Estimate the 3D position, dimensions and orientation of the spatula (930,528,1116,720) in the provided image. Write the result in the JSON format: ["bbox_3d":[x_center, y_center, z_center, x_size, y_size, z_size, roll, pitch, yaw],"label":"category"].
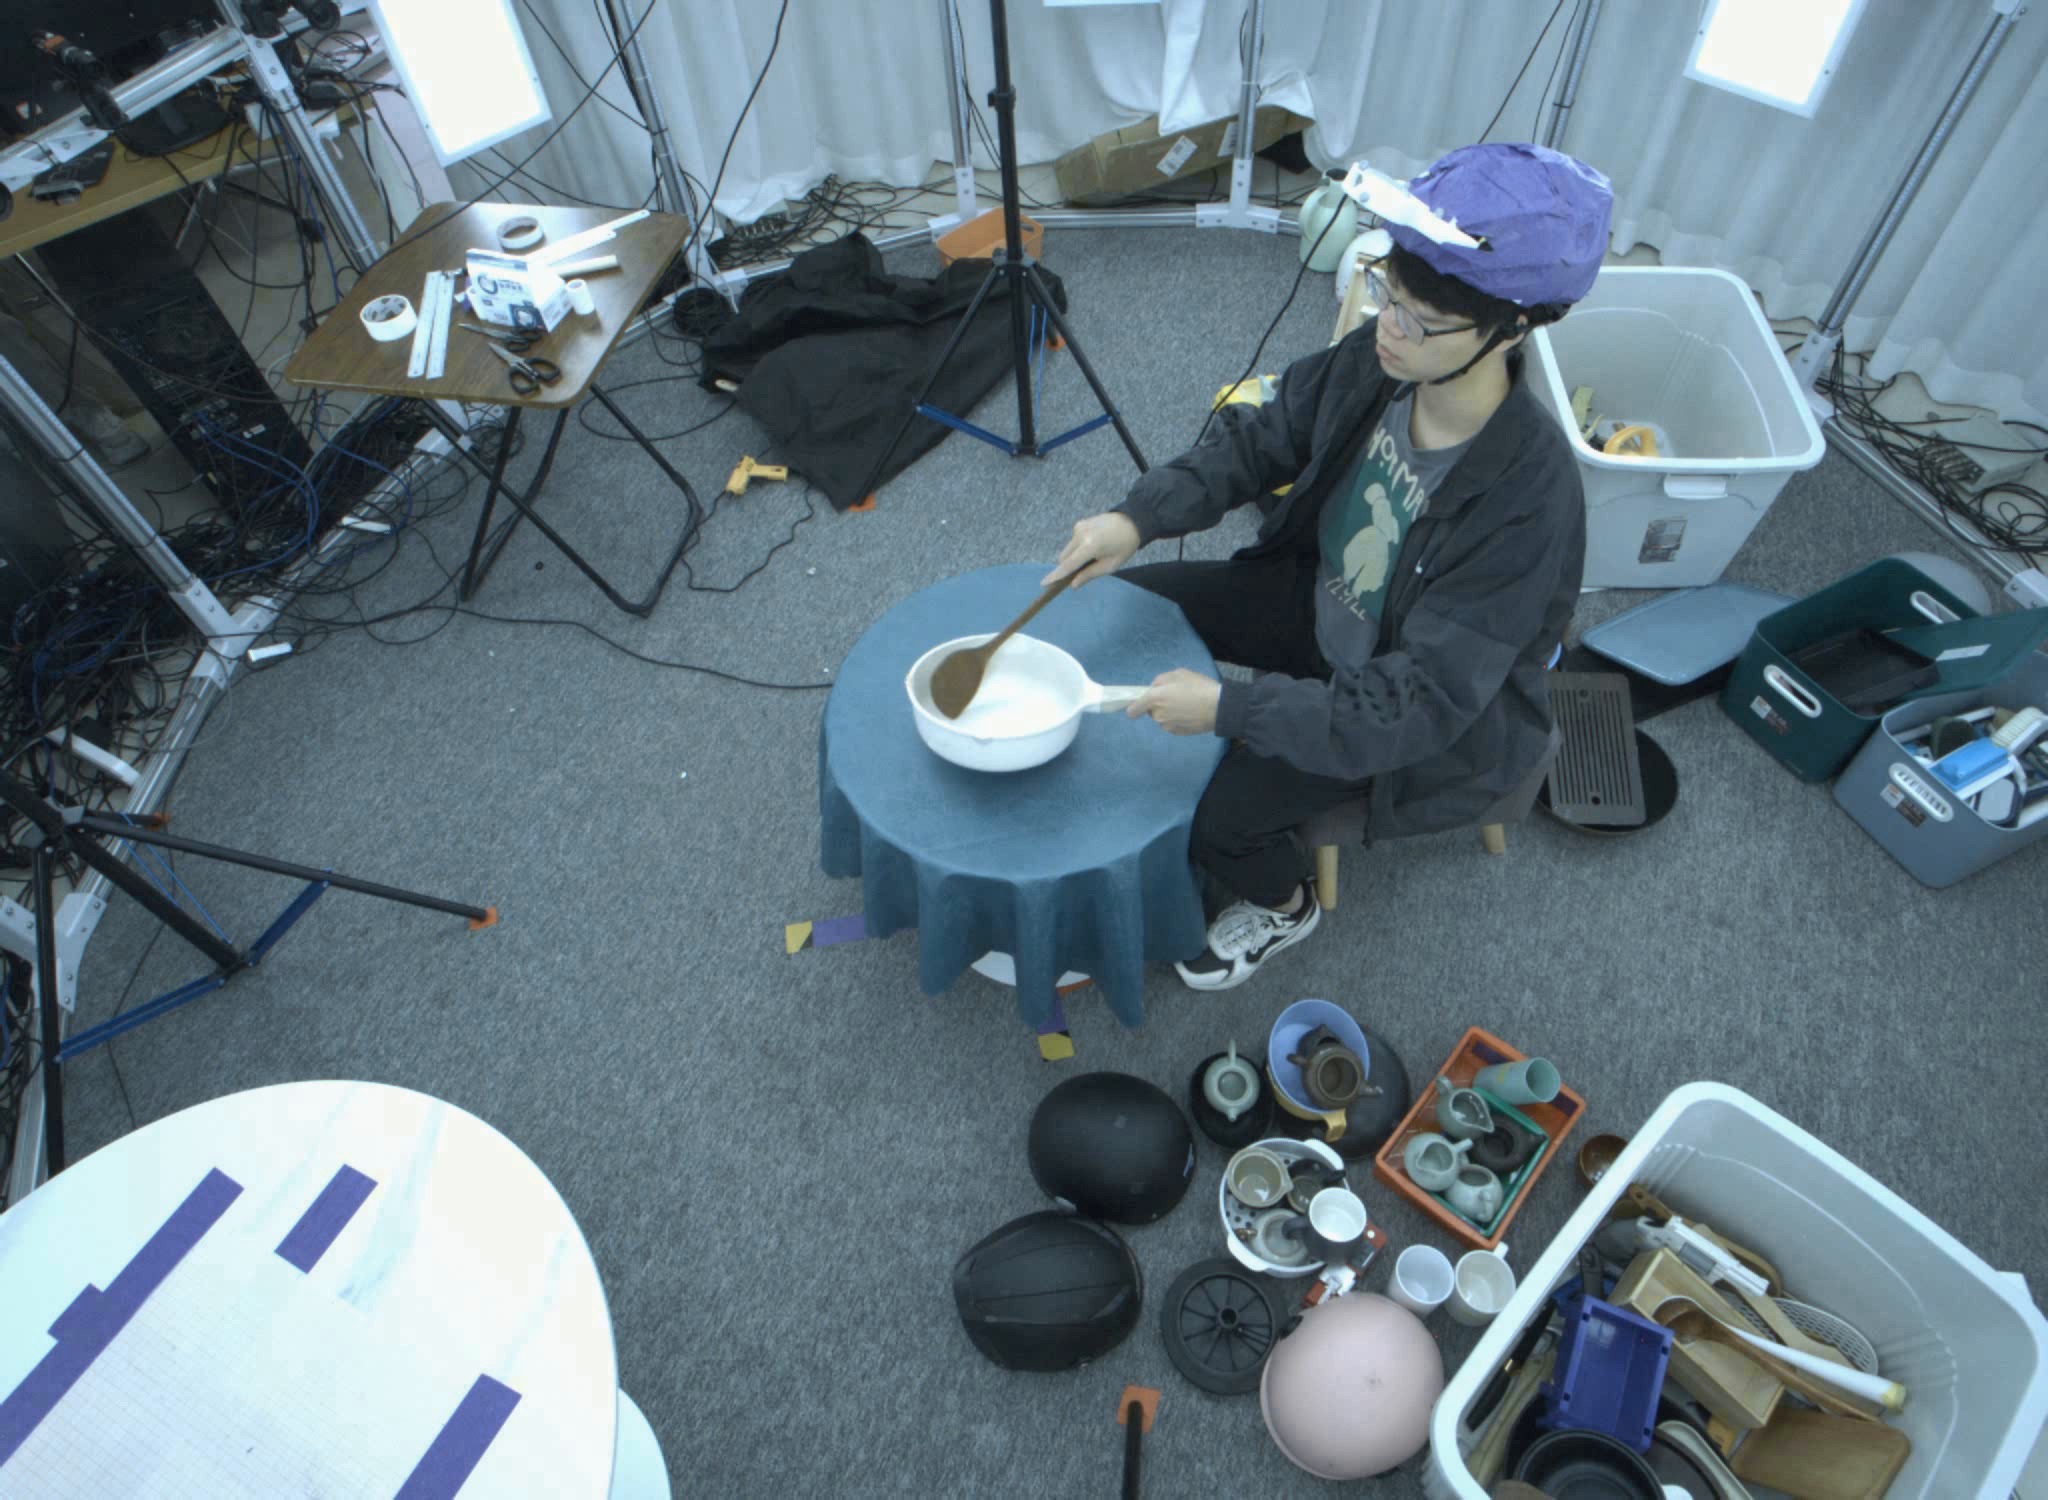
[{"bbox_3d":[0.006,-0.194,1.769,0.387,0.098,0.015,-45,50,-16],"label":"spatula"}]

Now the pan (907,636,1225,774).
[{"bbox_3d":[0.055,-0.056,1.703,0.434,0.103,0.262,6,36,4],"label":"pan"}]
